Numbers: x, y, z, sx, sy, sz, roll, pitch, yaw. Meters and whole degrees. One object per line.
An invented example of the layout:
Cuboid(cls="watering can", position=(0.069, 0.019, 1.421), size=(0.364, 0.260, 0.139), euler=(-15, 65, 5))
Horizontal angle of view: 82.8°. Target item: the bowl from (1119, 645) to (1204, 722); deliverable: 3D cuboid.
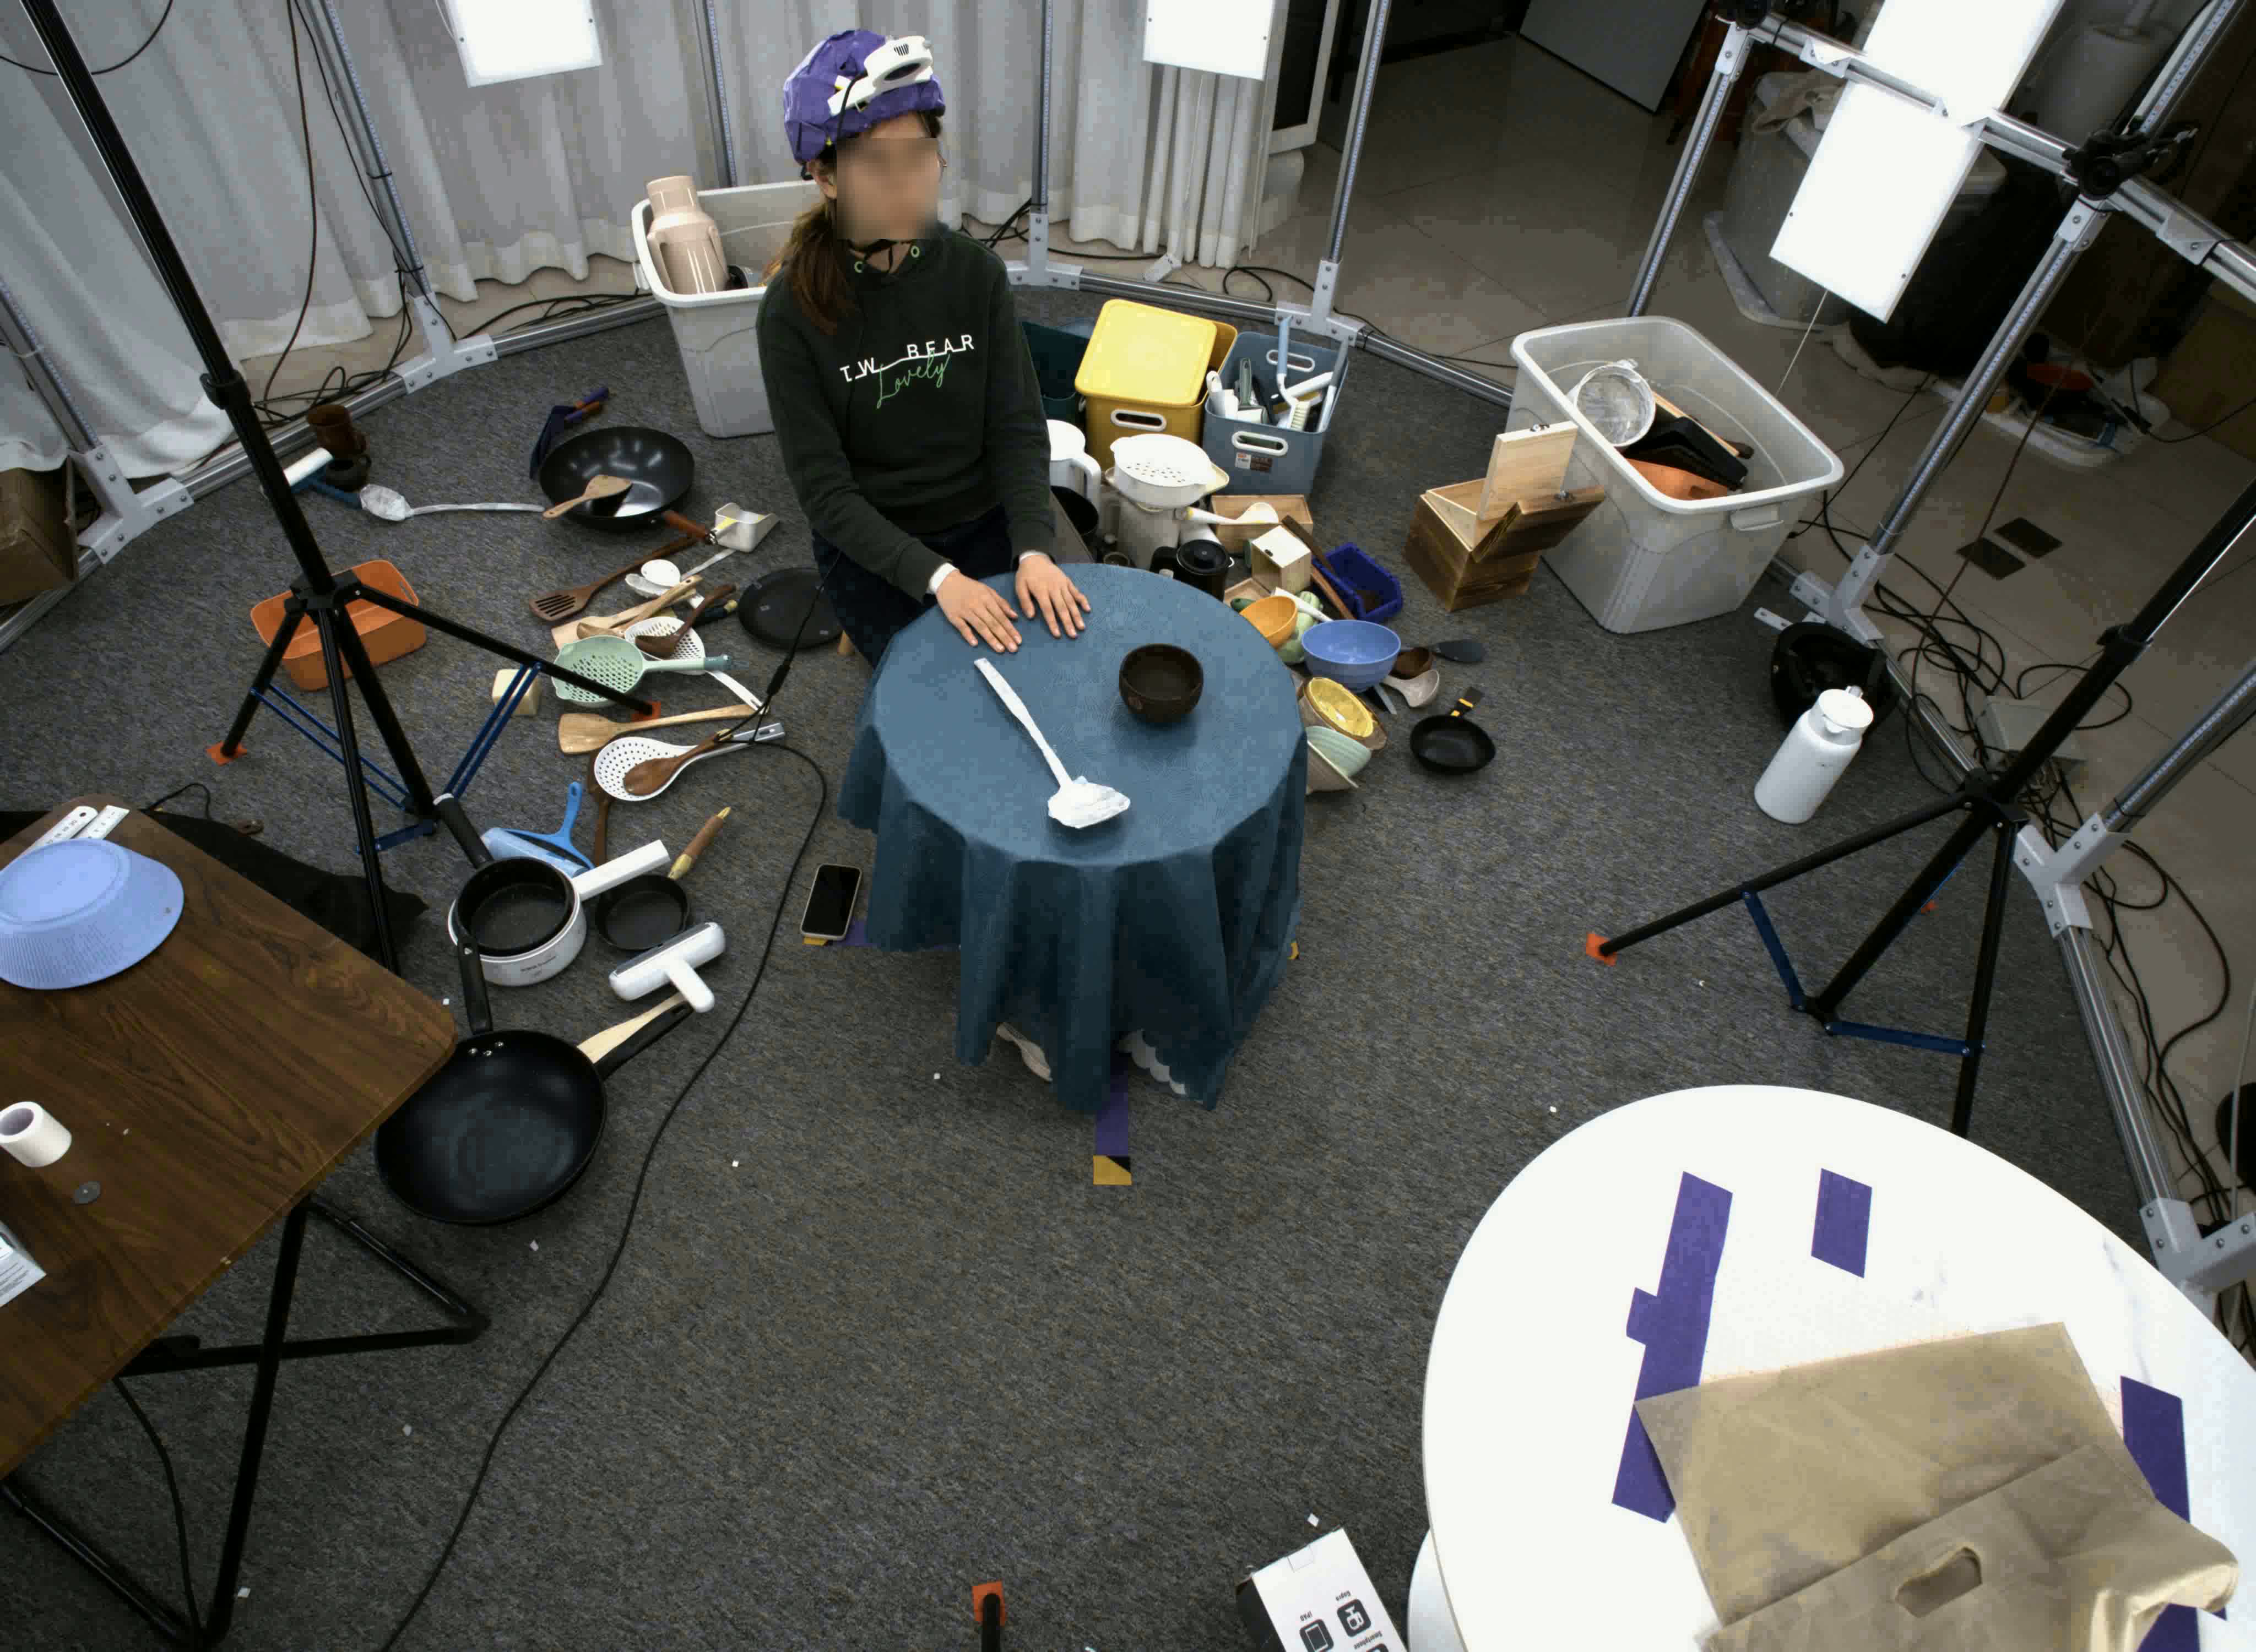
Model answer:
Cuboid(cls="bowl", position=(0.046, -0.192, 1.808), size=(0.118, 0.068, 0.121), euler=(3, 47, -3))

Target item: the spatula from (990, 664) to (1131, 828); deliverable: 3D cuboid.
Cuboid(cls="spatula", position=(-0.115, -0.121, 1.756), size=(0.099, 0.043, 0.373), euler=(-21, 53, -18))
